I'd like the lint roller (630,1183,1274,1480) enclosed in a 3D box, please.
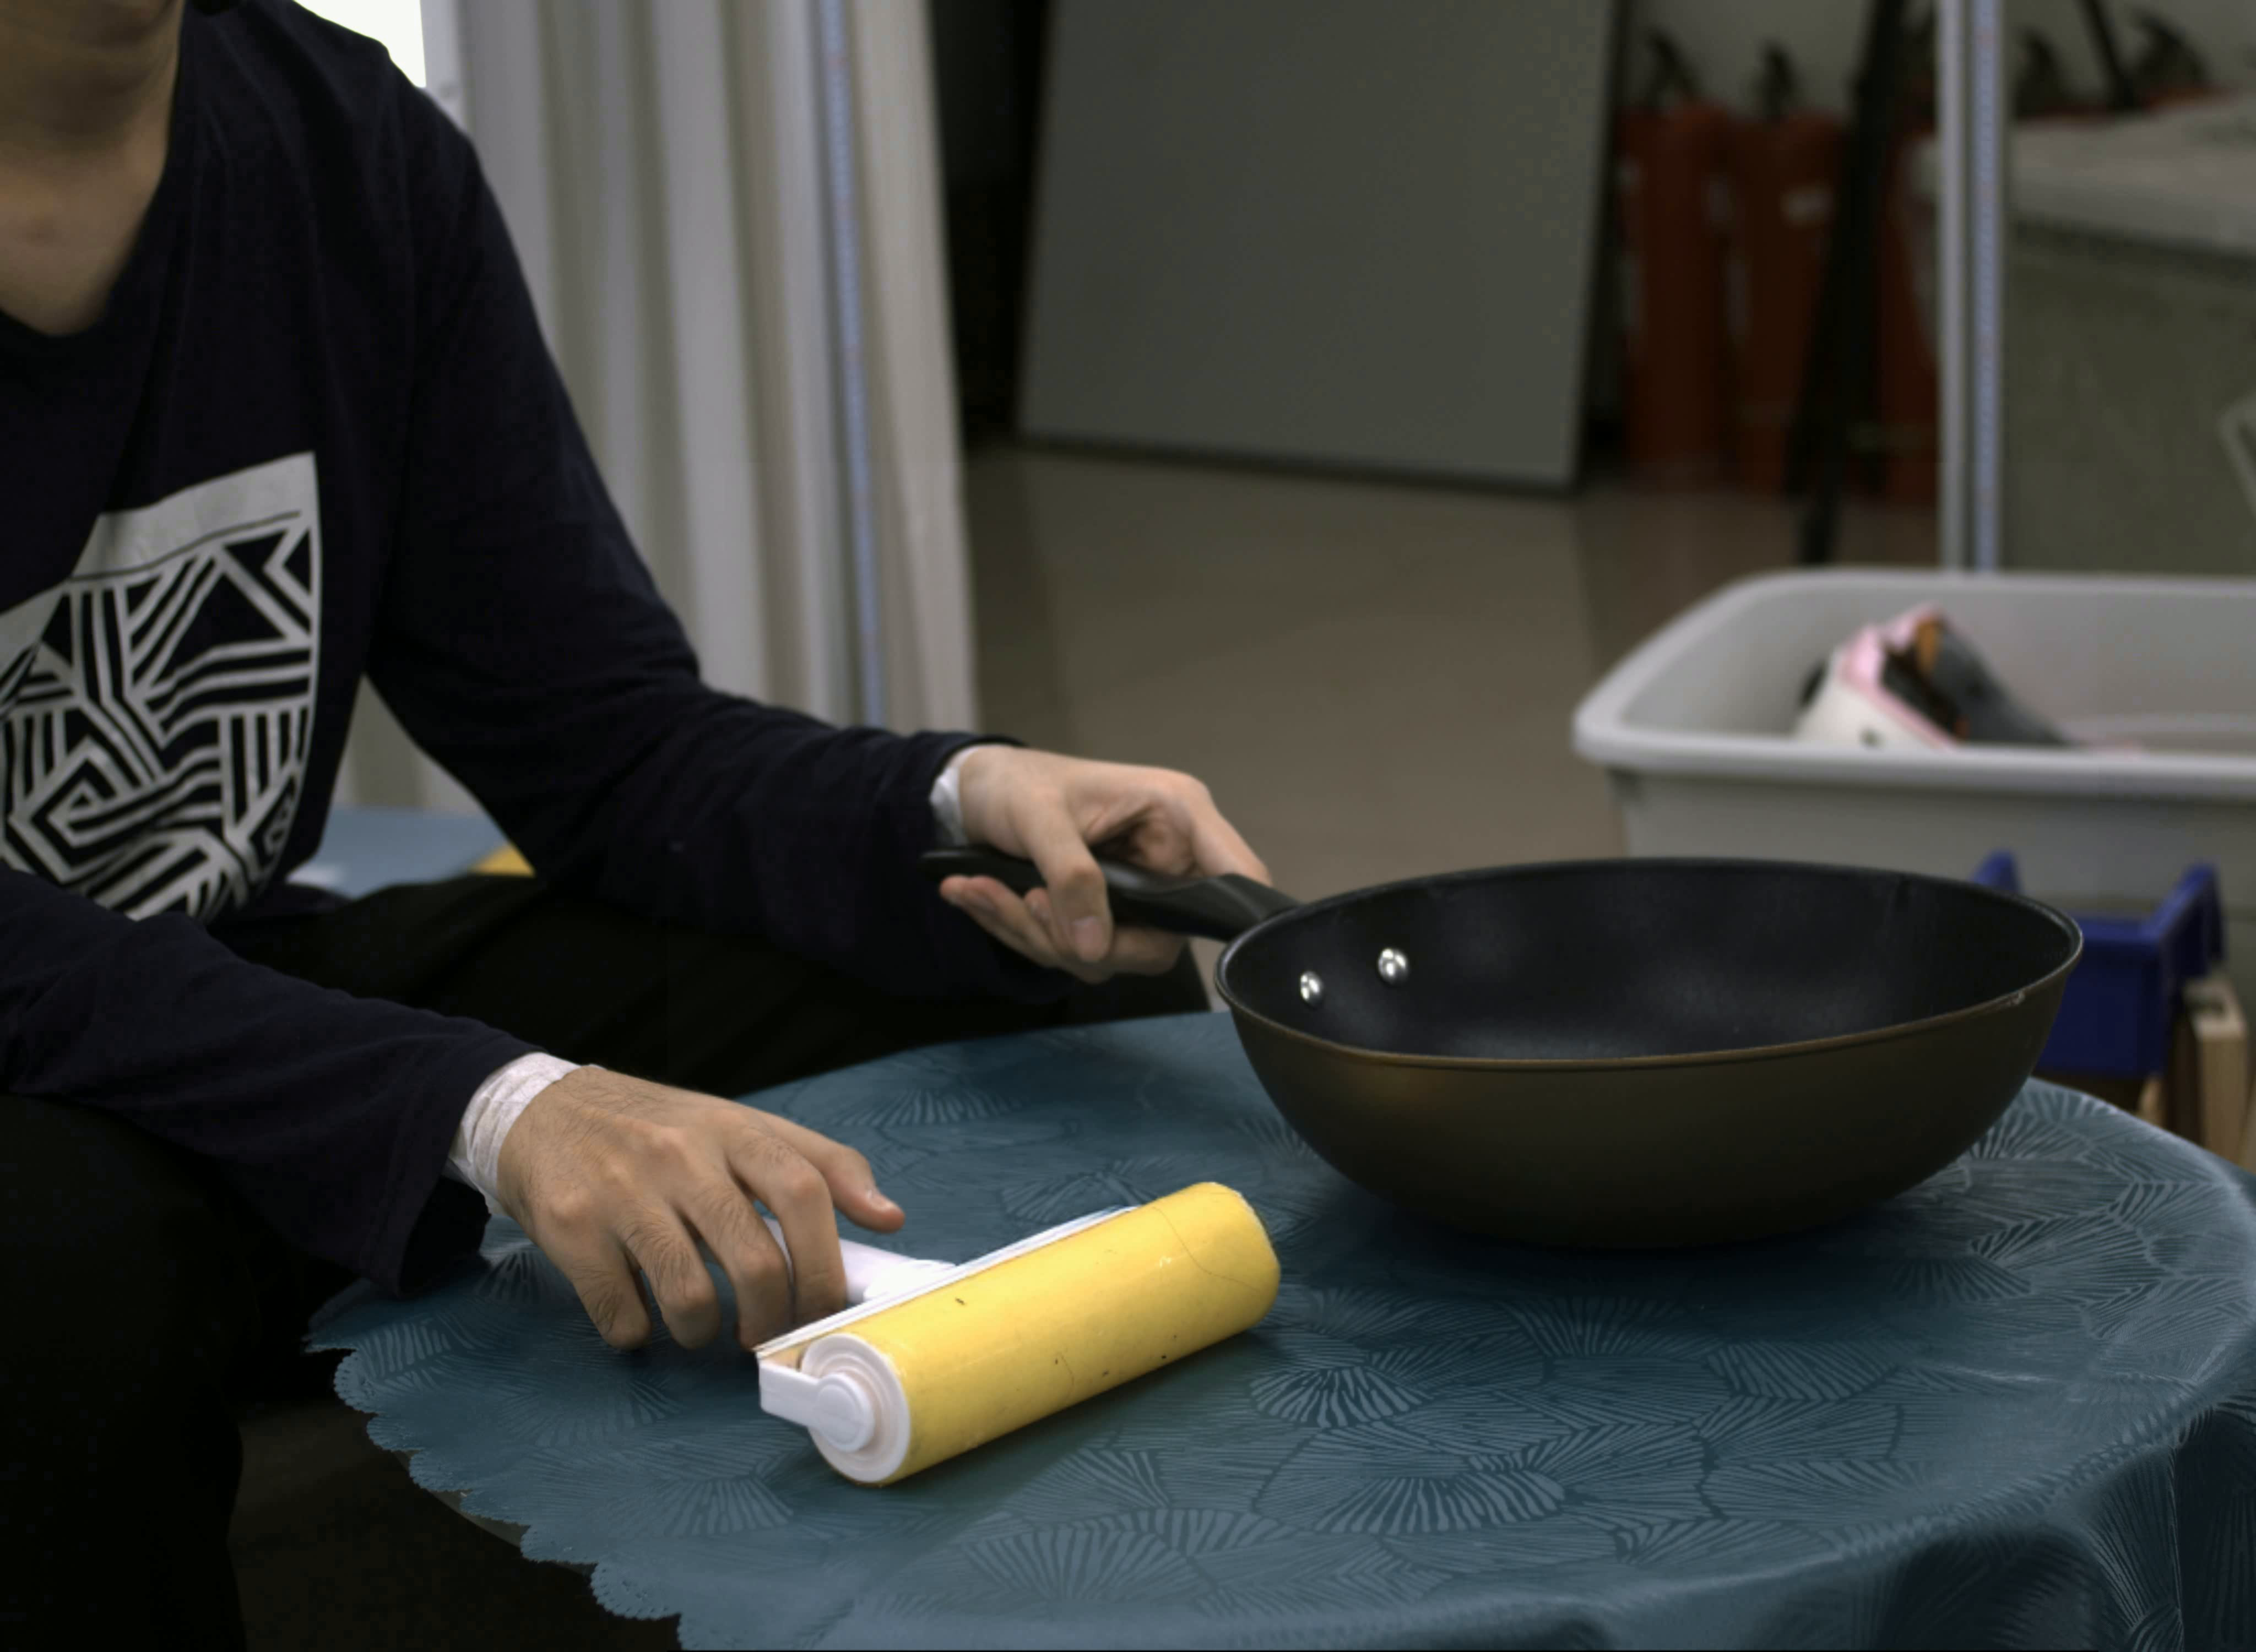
[{"bbox_3d":[-0.079,0.131,1.617,0.194,0.052,0.171,17,24,40],"label":"lint roller"}]

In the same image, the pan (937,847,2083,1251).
[{"bbox_3d":[0.100,0.068,1.785,0.467,0.088,0.282,7,15,44],"label":"pan"}]
